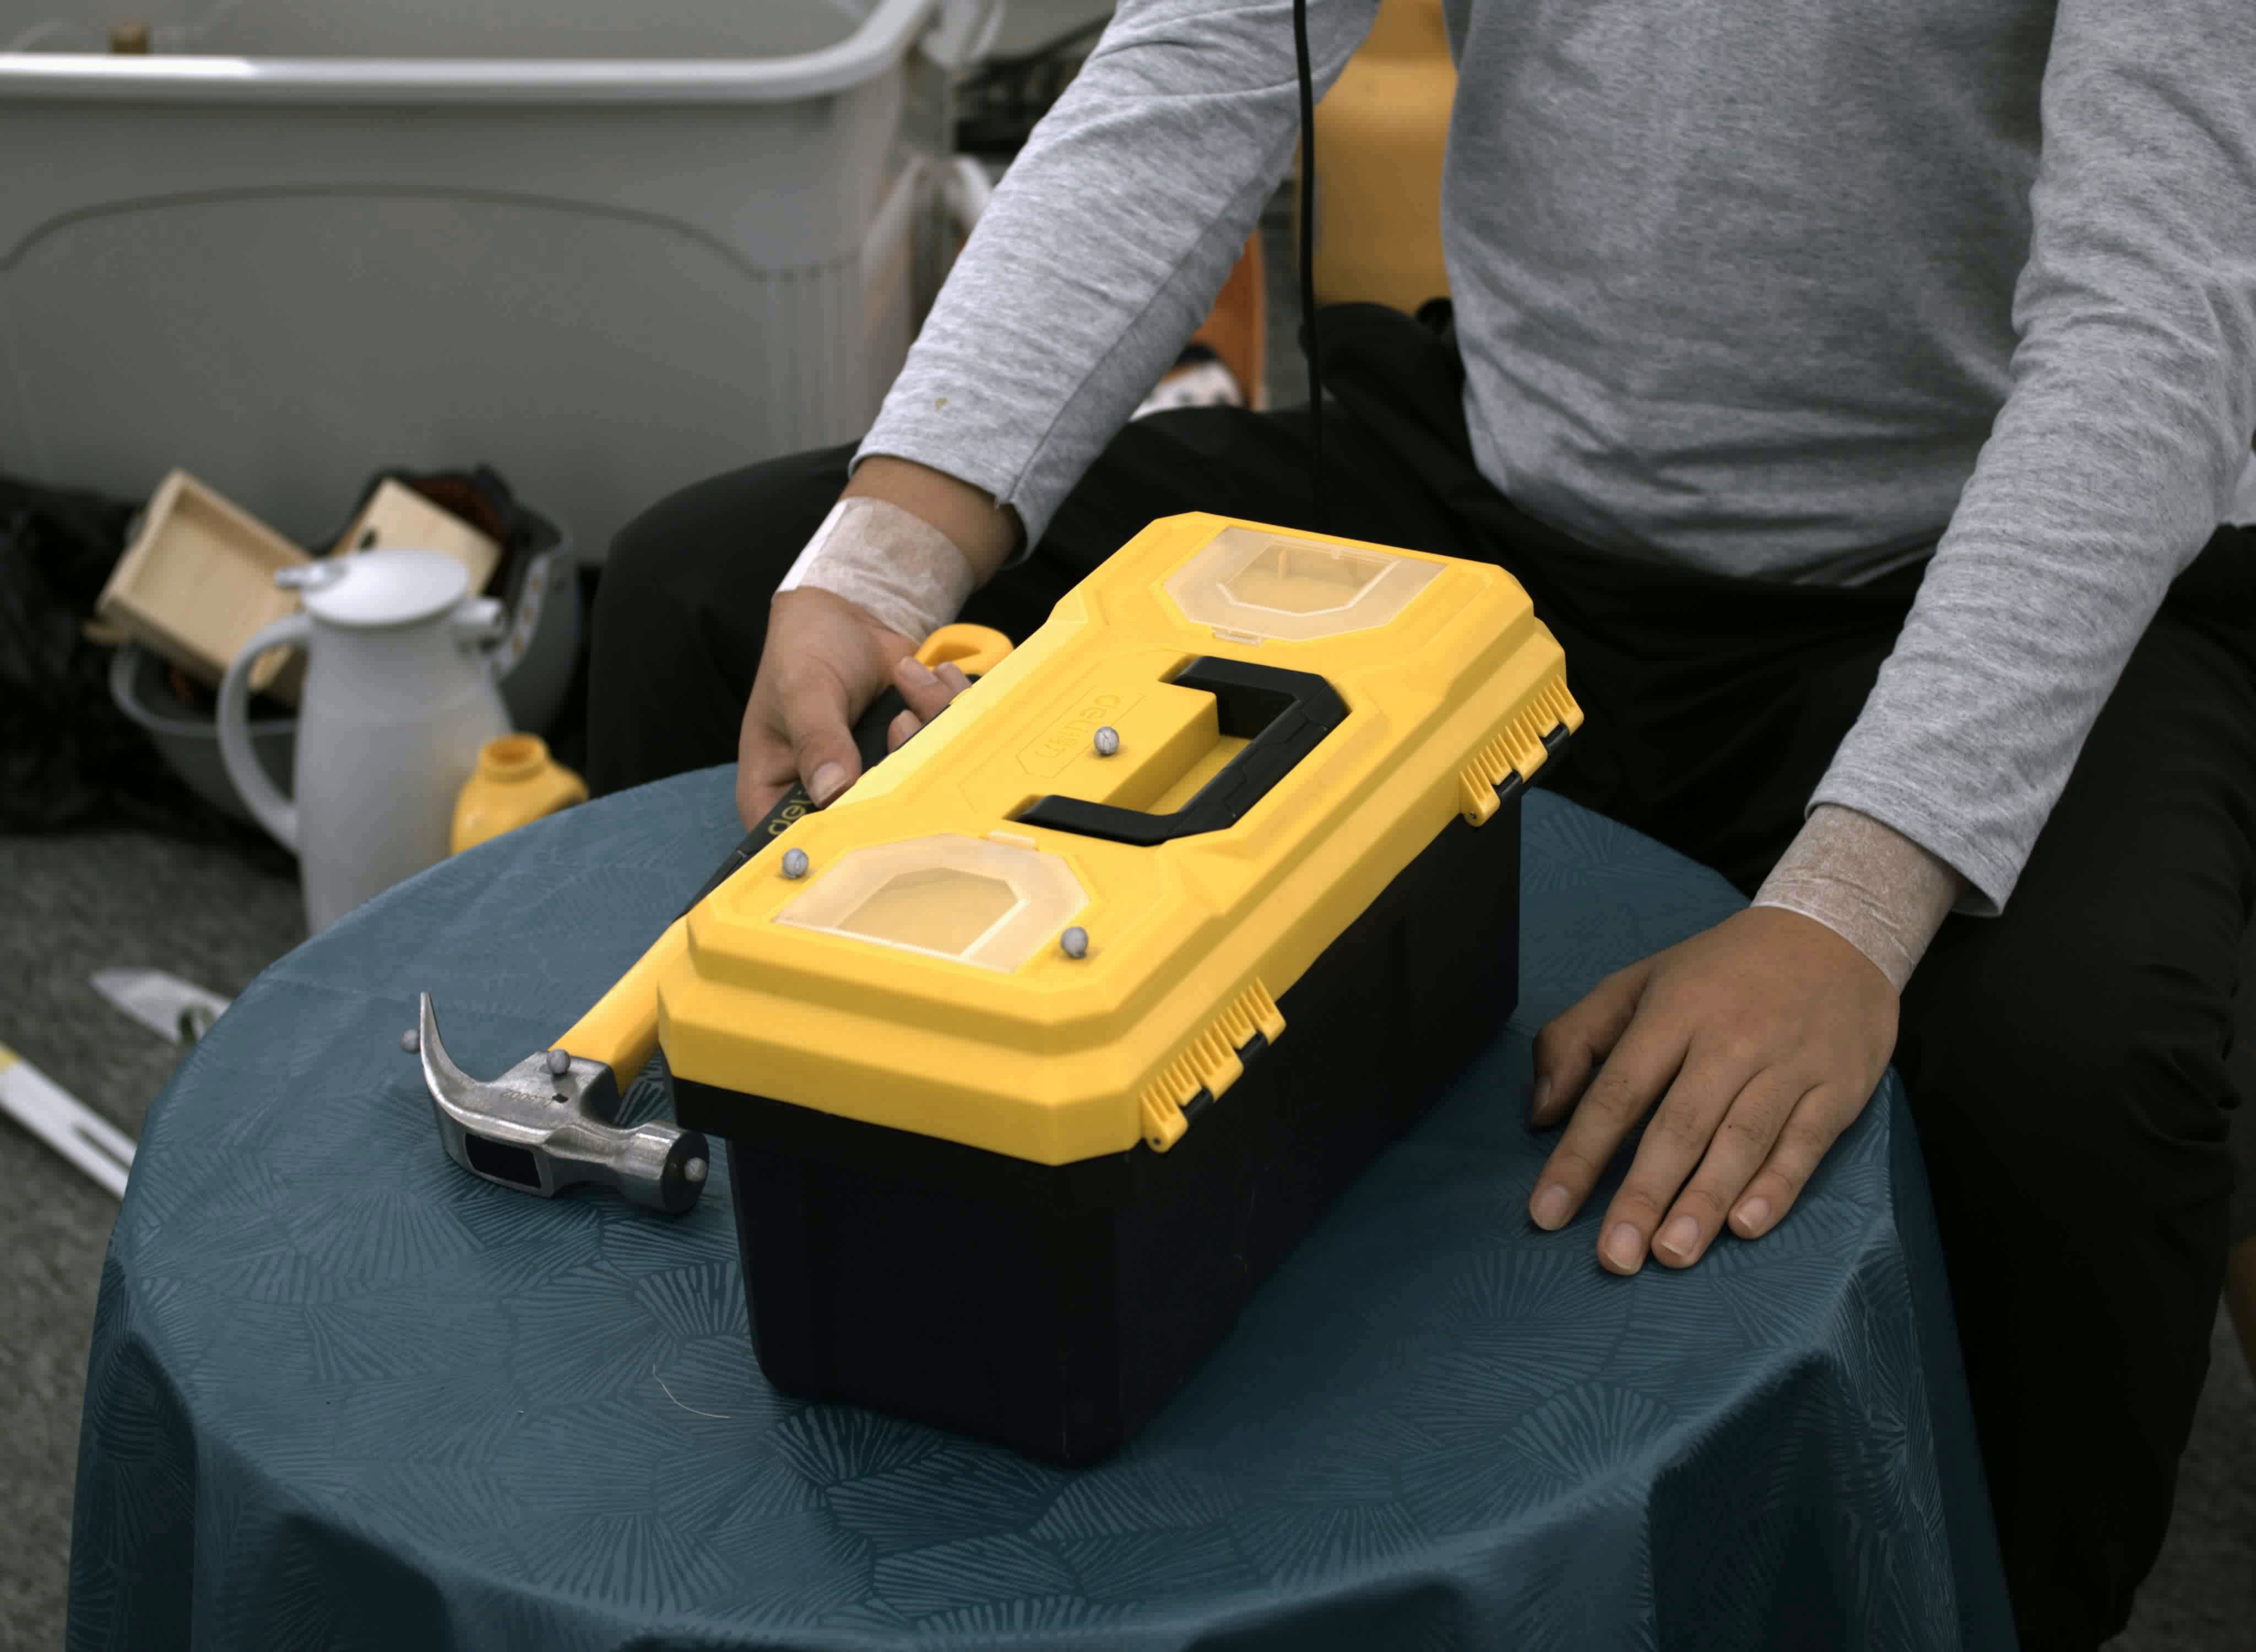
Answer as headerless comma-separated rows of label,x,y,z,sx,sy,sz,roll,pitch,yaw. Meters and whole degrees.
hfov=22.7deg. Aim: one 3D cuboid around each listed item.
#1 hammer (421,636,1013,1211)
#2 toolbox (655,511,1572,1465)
hammer,-0.132,0.024,2.000,0.130,0.032,0.344,9,35,27
toolbox,0.004,0.045,1.826,0.180,0.171,0.357,11,30,26
